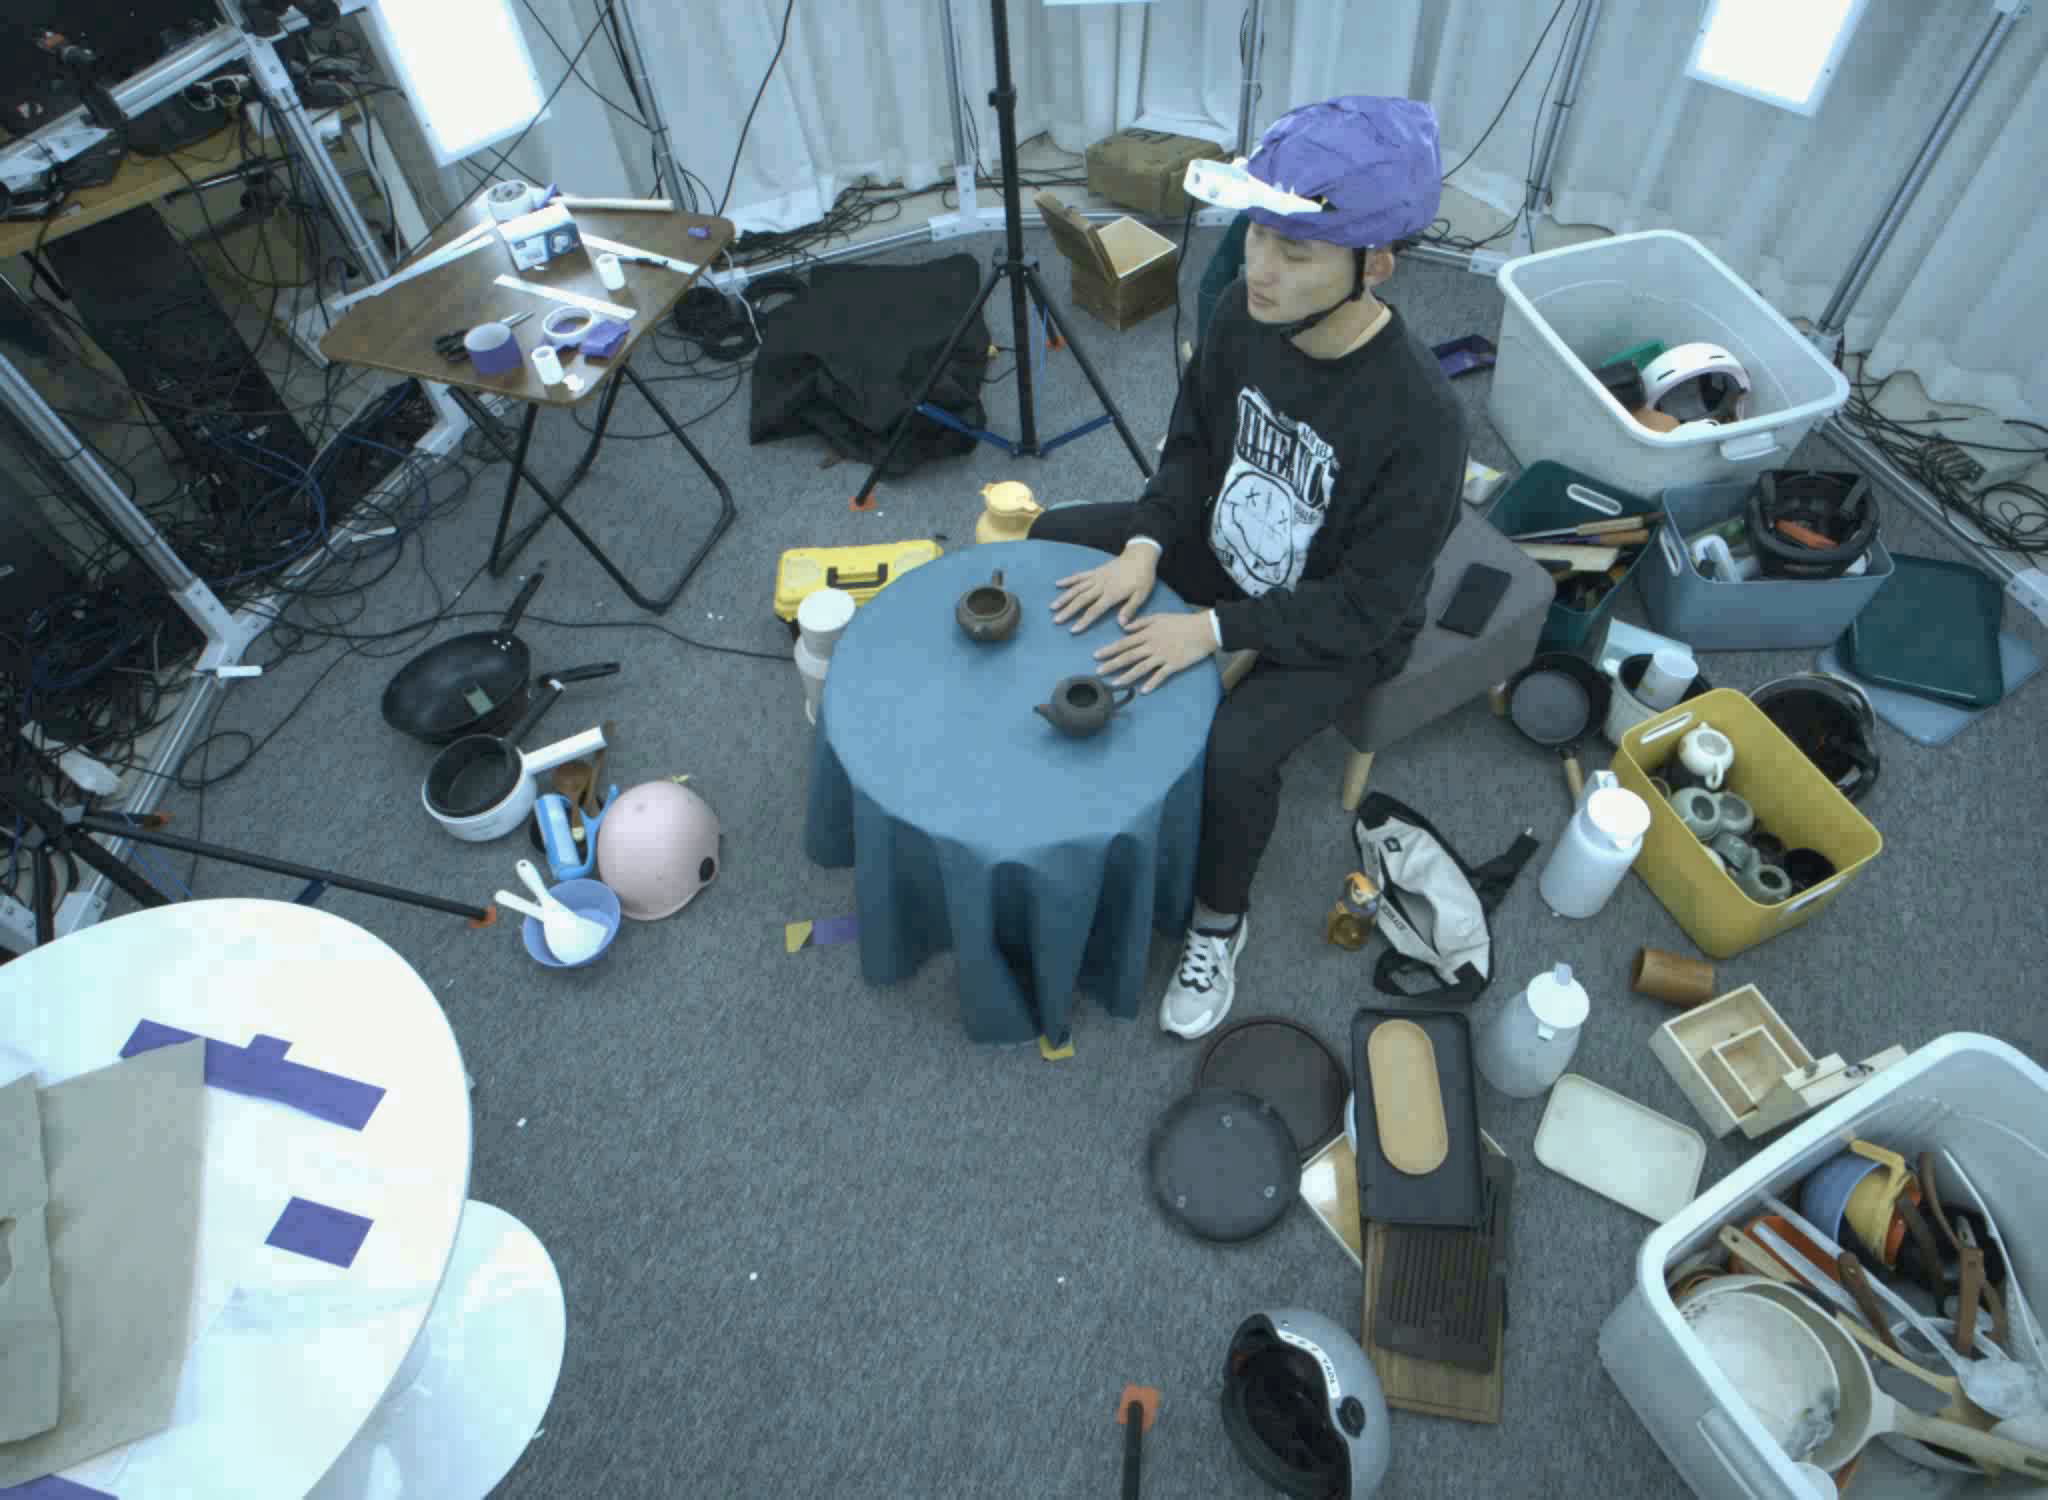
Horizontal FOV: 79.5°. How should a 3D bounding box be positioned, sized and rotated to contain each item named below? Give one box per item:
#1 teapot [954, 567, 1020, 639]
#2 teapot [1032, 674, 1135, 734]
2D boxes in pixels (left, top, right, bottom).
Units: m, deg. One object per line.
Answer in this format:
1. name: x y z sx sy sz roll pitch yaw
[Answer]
1. teapot: -0.057 -0.222 1.909 0.102 0.054 0.152 6 56 3
2. teapot: 0.087 -0.067 1.789 0.155 0.065 0.091 -14 57 -7
